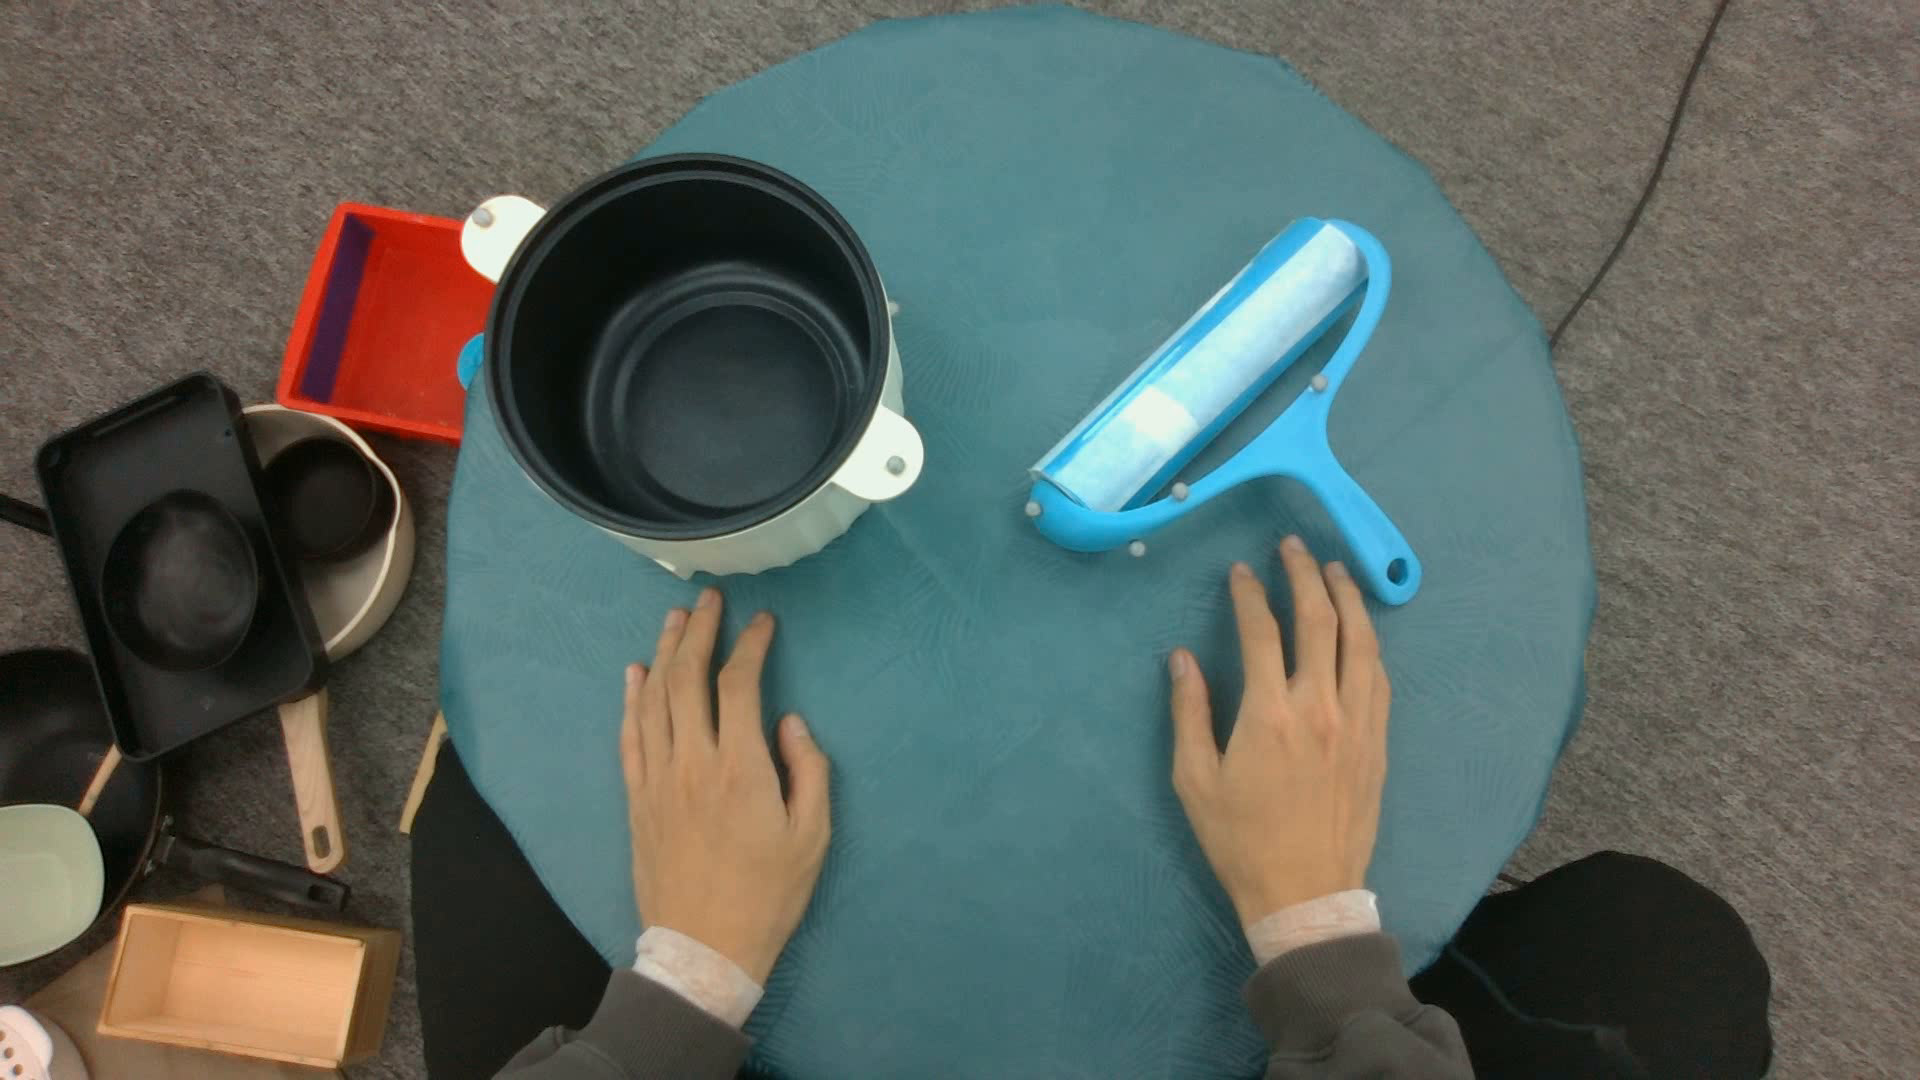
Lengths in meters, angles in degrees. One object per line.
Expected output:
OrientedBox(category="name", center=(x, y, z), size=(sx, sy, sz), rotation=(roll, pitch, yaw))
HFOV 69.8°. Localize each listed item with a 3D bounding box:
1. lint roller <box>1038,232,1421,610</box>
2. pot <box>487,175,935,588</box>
OrientedBox(category="lint roller", center=(0.171, -0.039, 0.706), size=(0.180, 0.068, 0.229), rotation=(43, 82, 13))
OrientedBox(category="pot", center=(-0.111, -0.075, 0.692), size=(0.240, 0.142, 0.190), rotation=(30, 84, 9))
